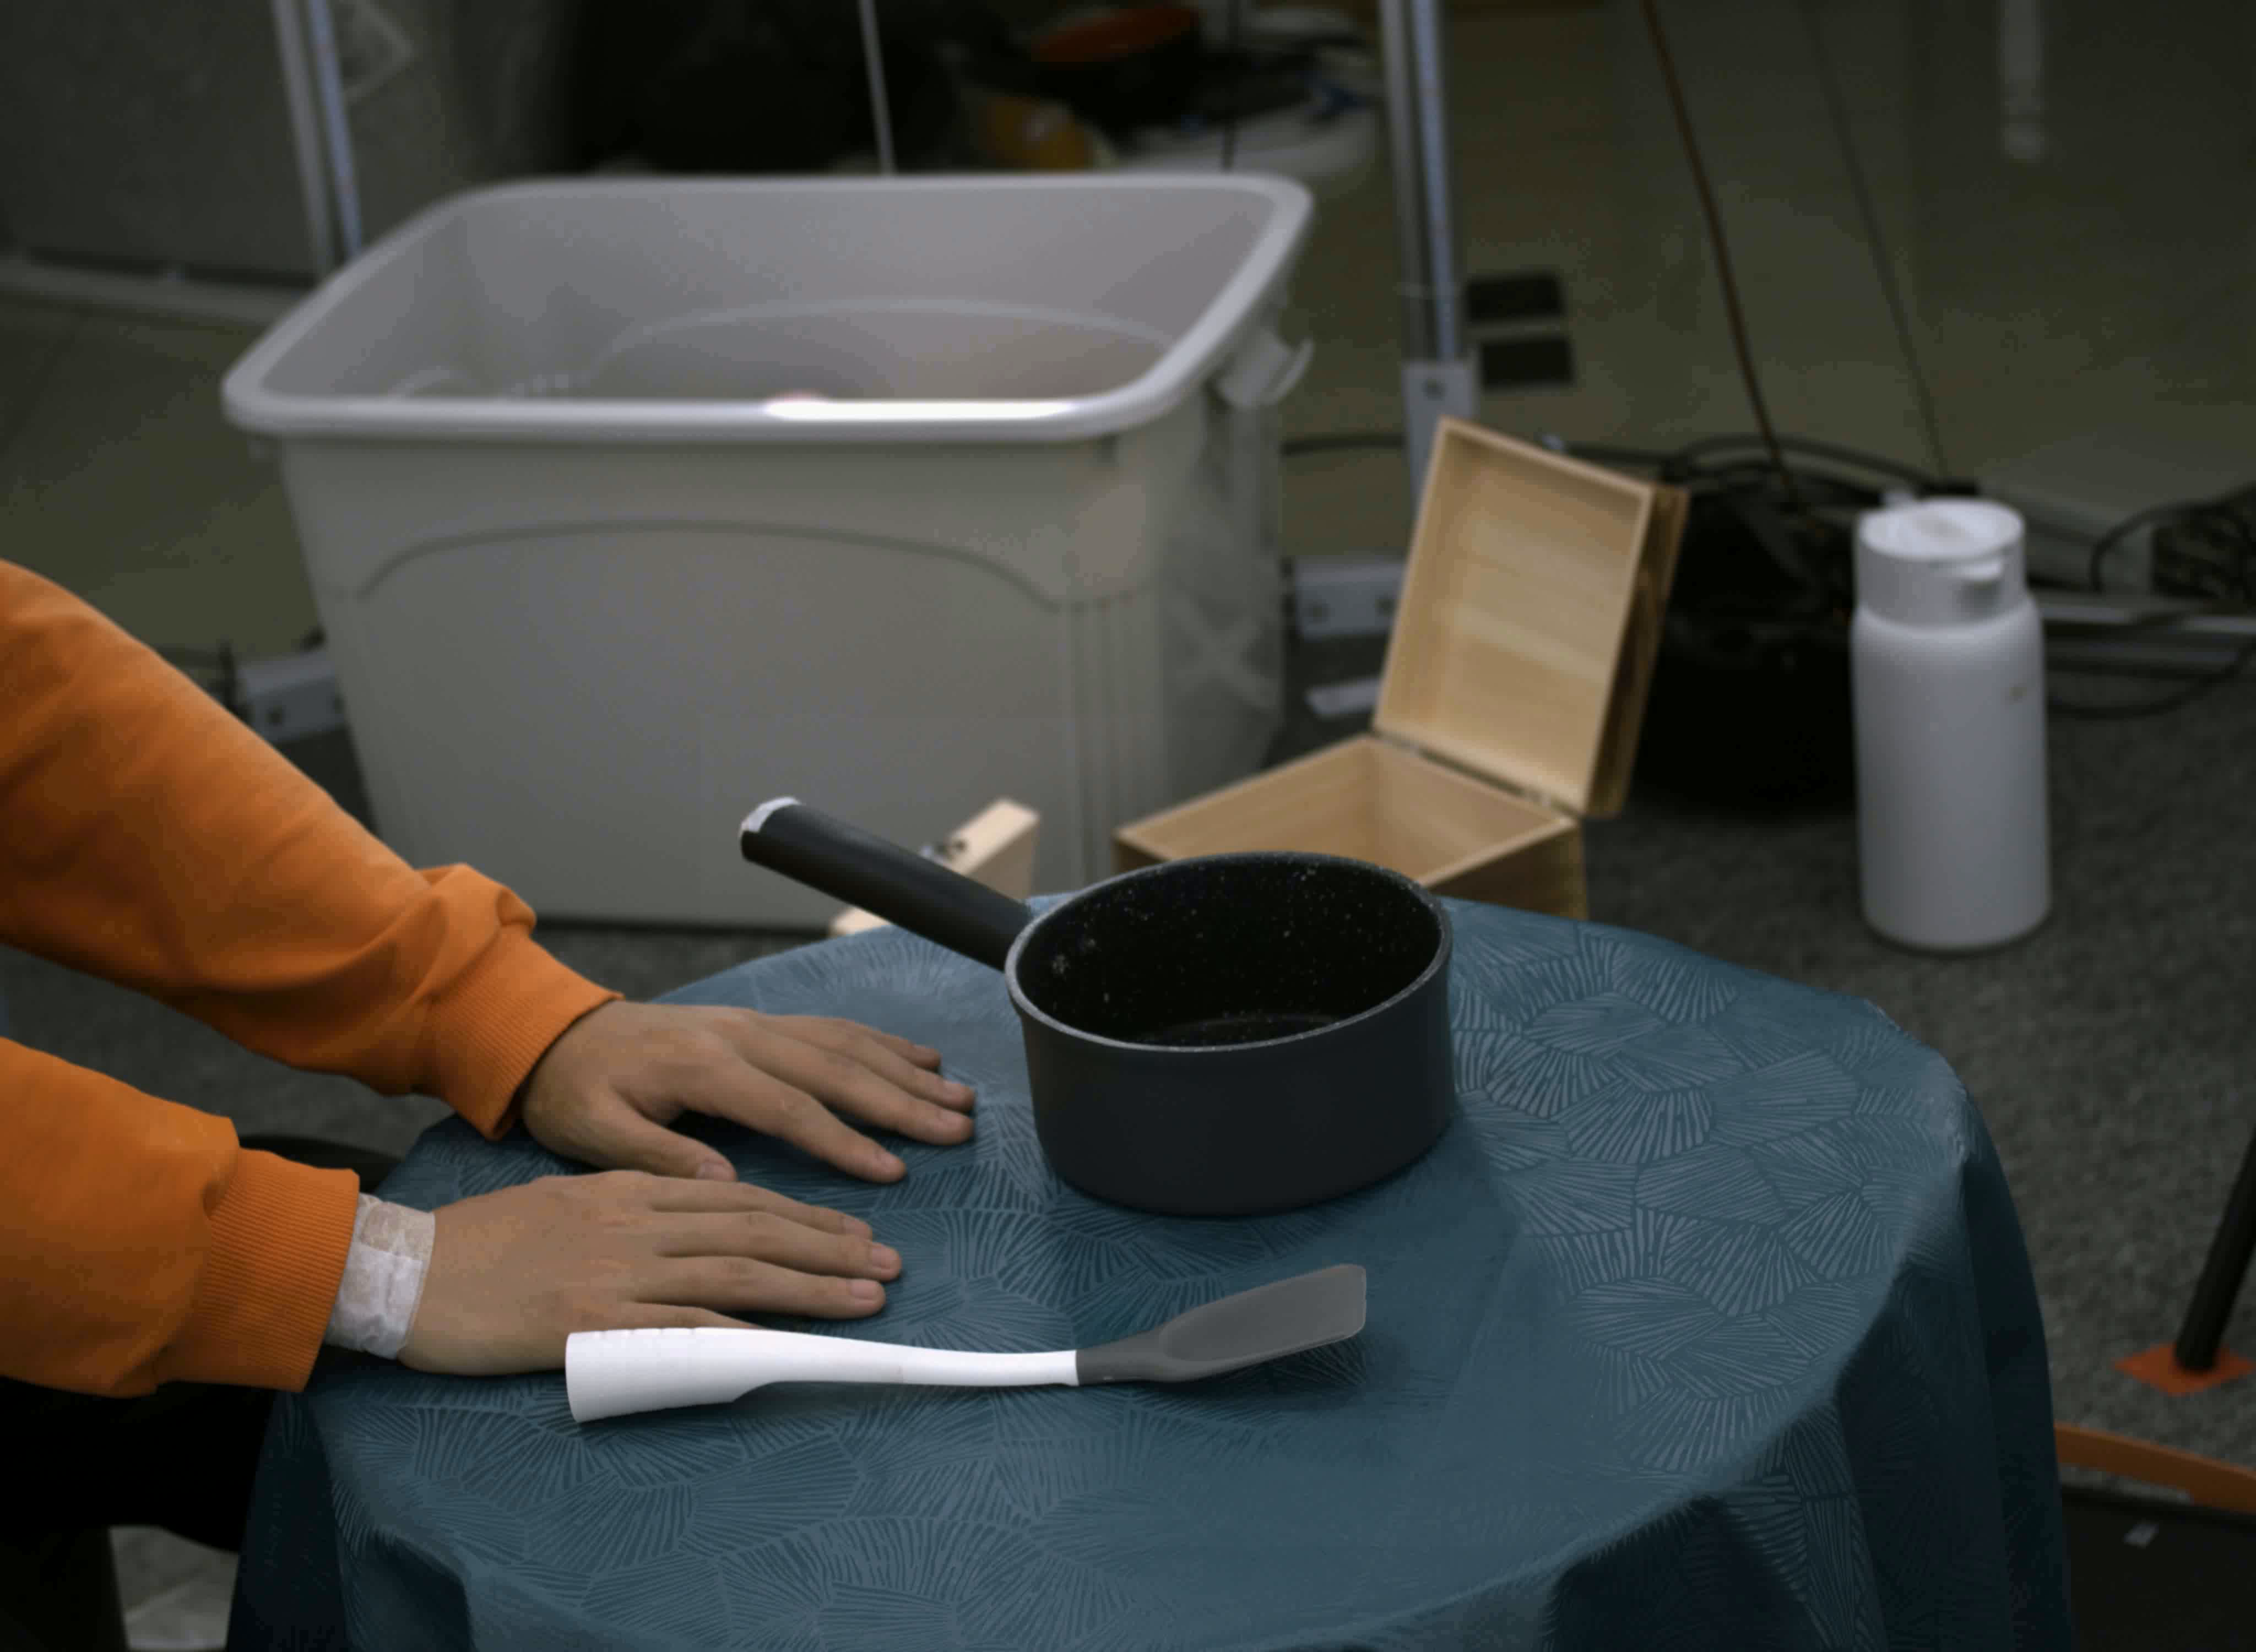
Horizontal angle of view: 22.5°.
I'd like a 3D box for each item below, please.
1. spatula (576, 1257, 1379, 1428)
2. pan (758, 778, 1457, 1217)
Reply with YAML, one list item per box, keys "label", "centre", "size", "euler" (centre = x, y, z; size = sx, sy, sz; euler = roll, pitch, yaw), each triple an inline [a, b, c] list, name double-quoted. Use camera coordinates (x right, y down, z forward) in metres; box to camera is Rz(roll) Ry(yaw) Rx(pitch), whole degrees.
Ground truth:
- label: "spatula"
  centre: [-0.053, 0.186, 2.021]
  size: [0.287, 0.033, 0.058]
  euler: [-5, 22, 5]
- label: "pan"
  centre: [-0.018, 0.059, 2.219]
  size: [0.326, 0.088, 0.170]
  euler: [17, 34, 38]
